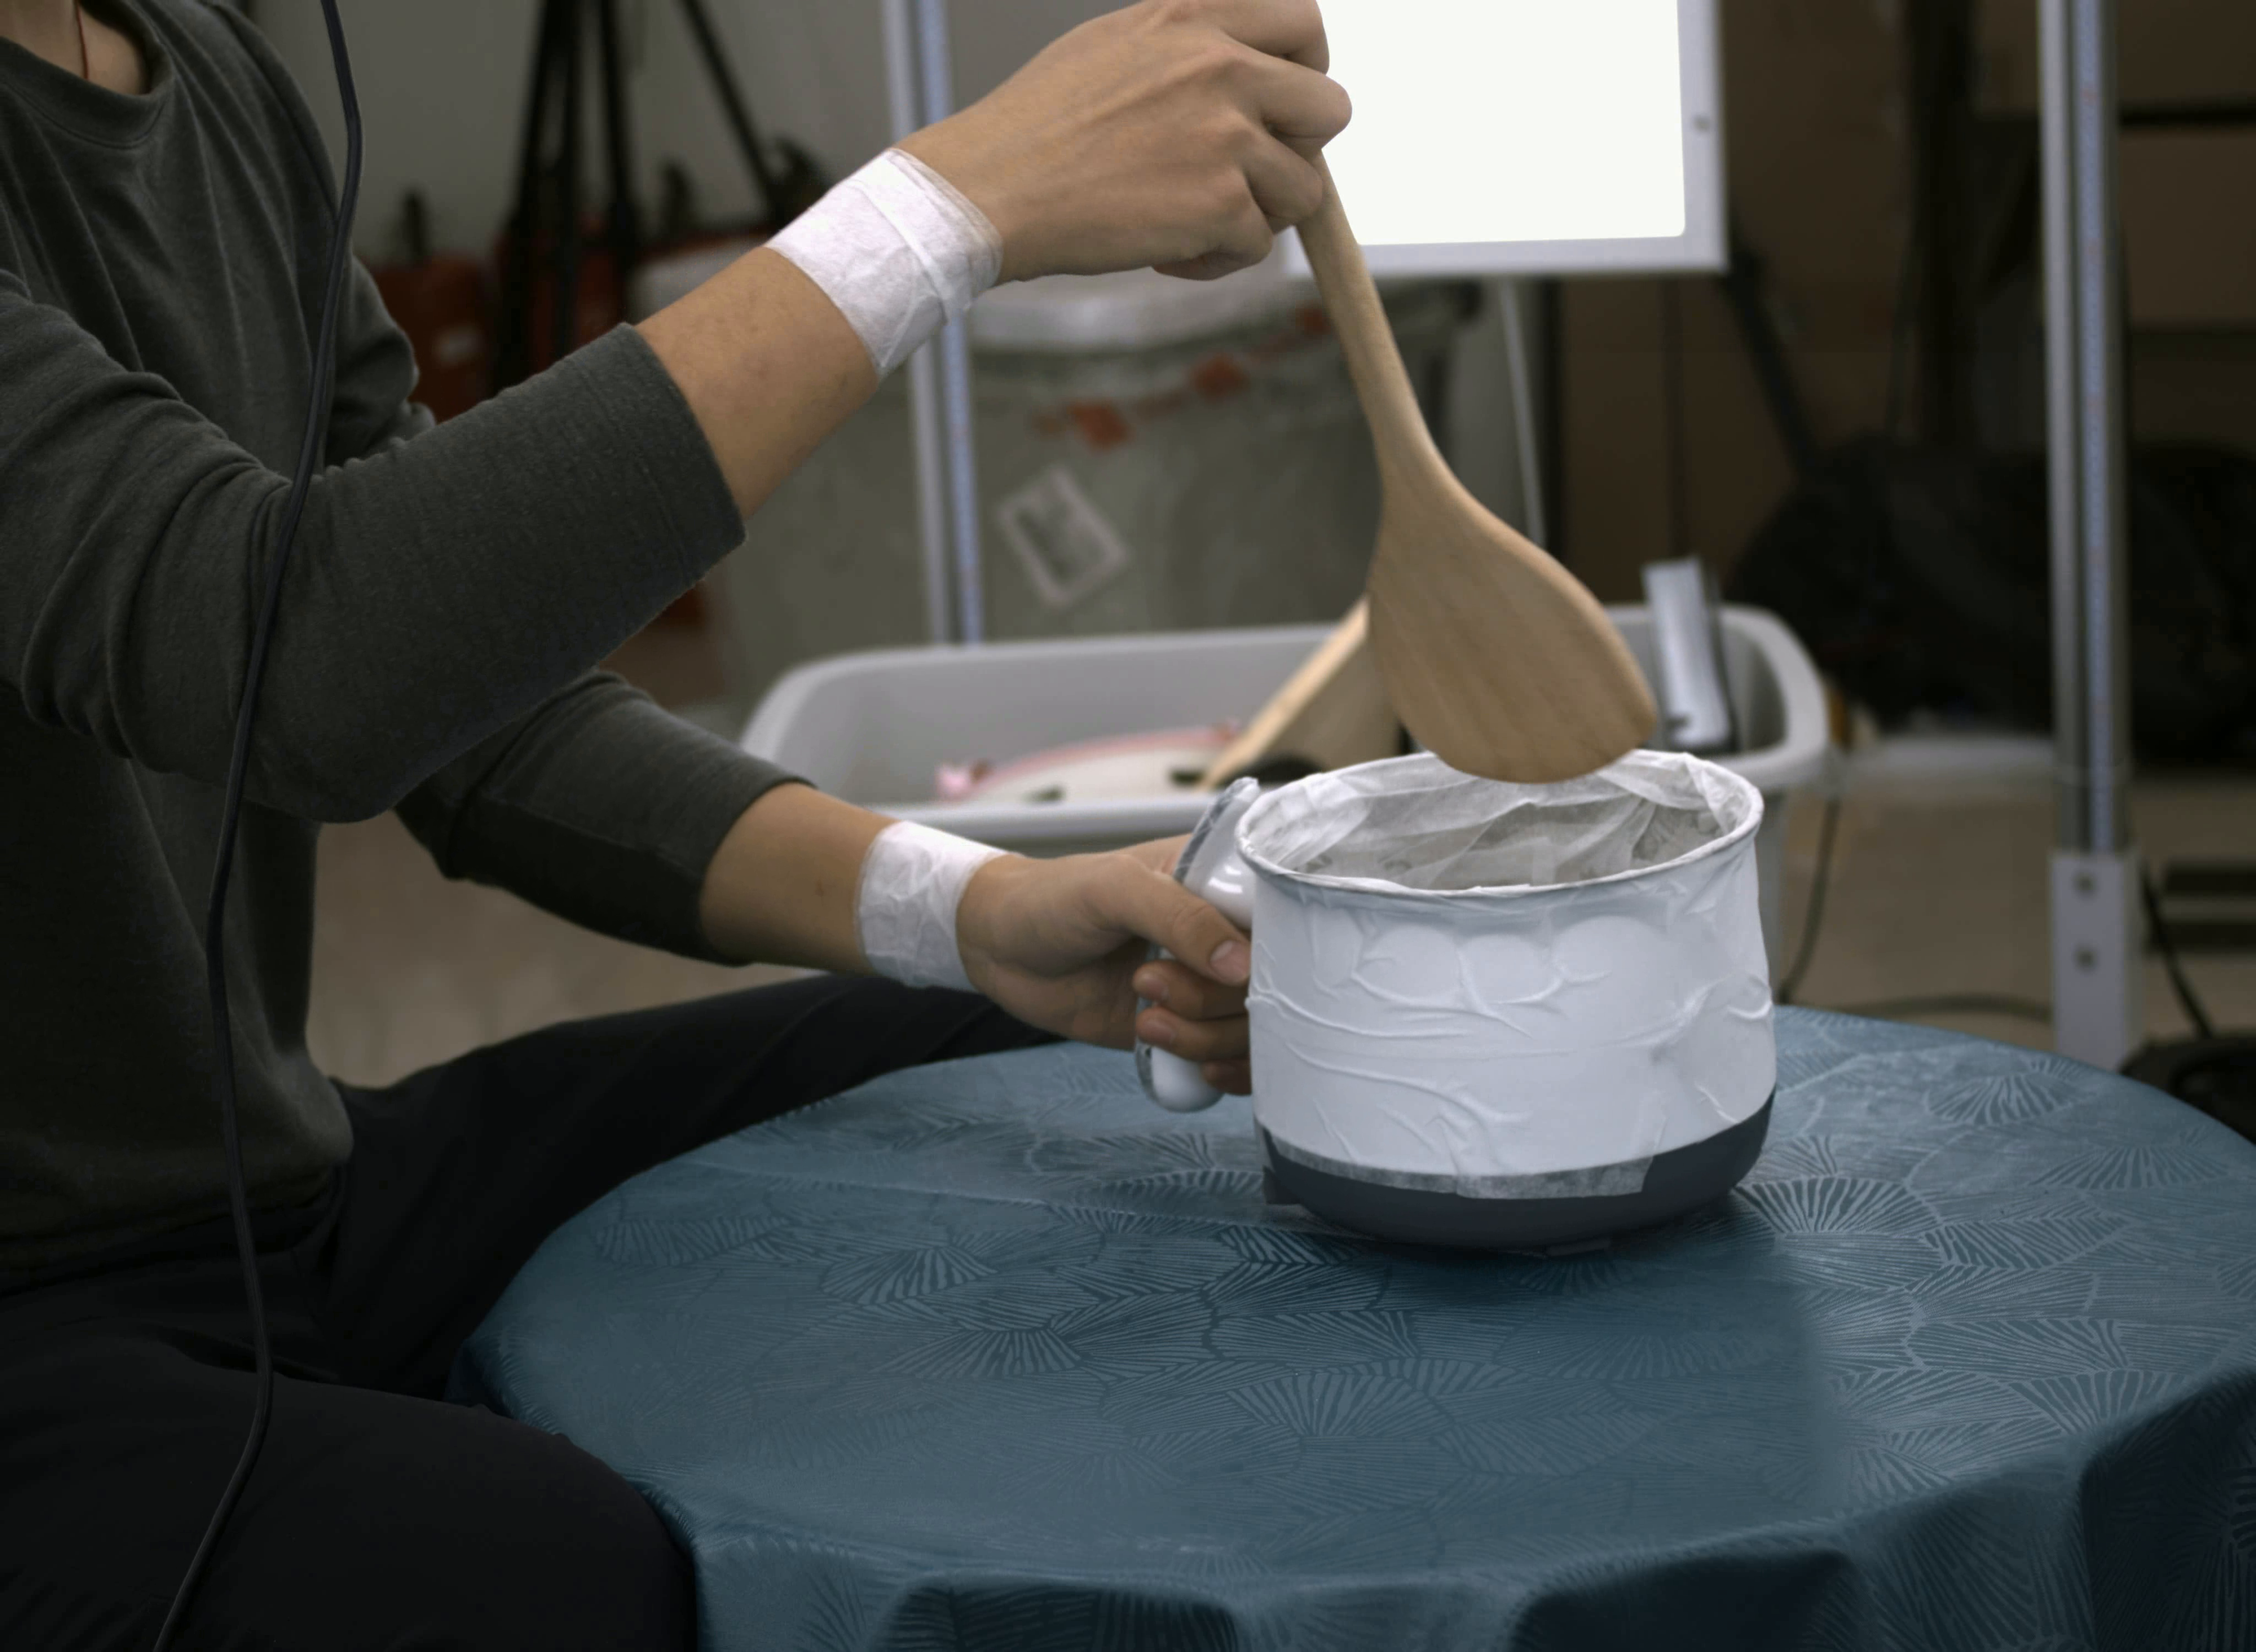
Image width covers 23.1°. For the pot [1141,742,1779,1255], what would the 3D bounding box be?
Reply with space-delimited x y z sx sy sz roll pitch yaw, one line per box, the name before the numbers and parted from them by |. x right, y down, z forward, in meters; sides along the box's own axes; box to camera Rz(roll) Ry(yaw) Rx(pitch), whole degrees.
pot | 0.106 0.054 1.858 0.238 0.137 0.174 5 18 32

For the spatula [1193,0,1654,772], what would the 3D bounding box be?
spatula | 0.066 -0.188 1.762 0.098 0.390 0.018 -9 21 37
